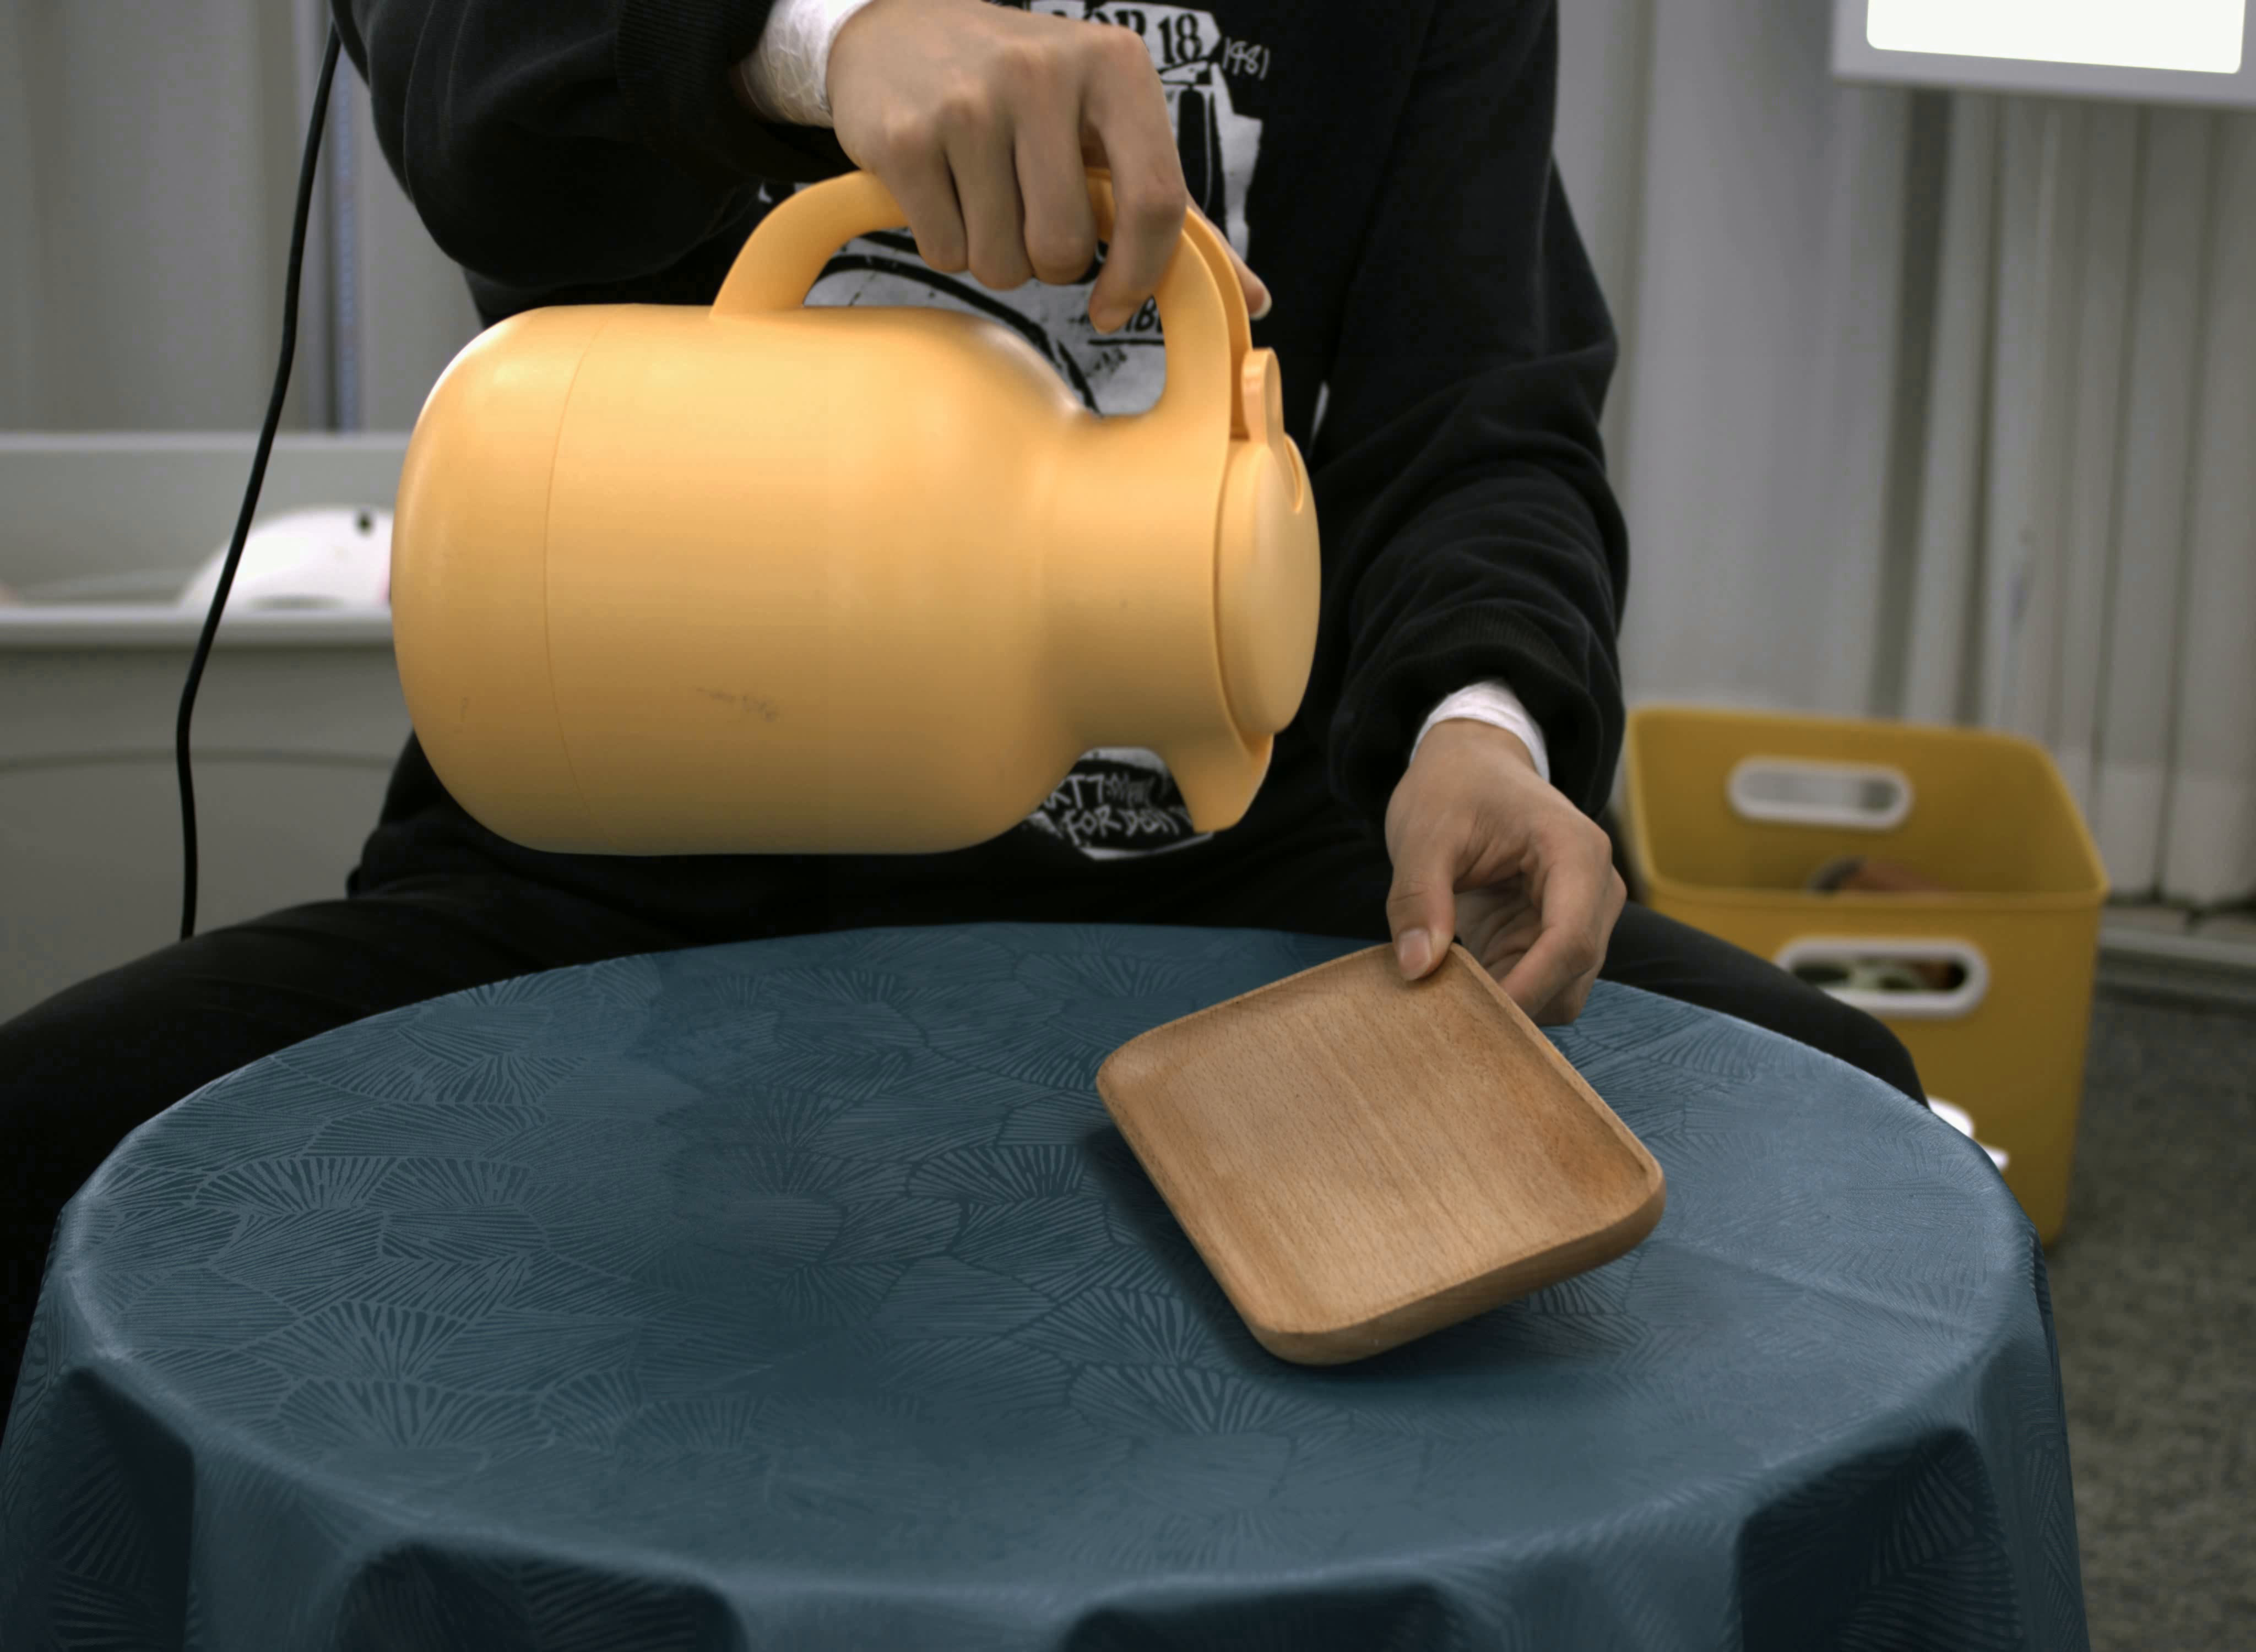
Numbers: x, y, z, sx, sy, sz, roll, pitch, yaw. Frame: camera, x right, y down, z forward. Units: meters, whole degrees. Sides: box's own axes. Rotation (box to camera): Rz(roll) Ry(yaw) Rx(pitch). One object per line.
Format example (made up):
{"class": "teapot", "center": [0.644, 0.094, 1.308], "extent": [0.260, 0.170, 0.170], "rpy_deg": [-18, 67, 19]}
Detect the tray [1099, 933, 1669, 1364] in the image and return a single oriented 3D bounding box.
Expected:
{"class": "tray", "center": [0.073, 0.094, 1.585], "extent": [0.130, 0.023, 0.248], "rpy_deg": [-18, 20, -7]}

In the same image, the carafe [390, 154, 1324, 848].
{"class": "carafe", "center": [-0.073, -0.094, 1.530], "extent": [0.258, 0.203, 0.163], "rpy_deg": [4, 9, 12]}
